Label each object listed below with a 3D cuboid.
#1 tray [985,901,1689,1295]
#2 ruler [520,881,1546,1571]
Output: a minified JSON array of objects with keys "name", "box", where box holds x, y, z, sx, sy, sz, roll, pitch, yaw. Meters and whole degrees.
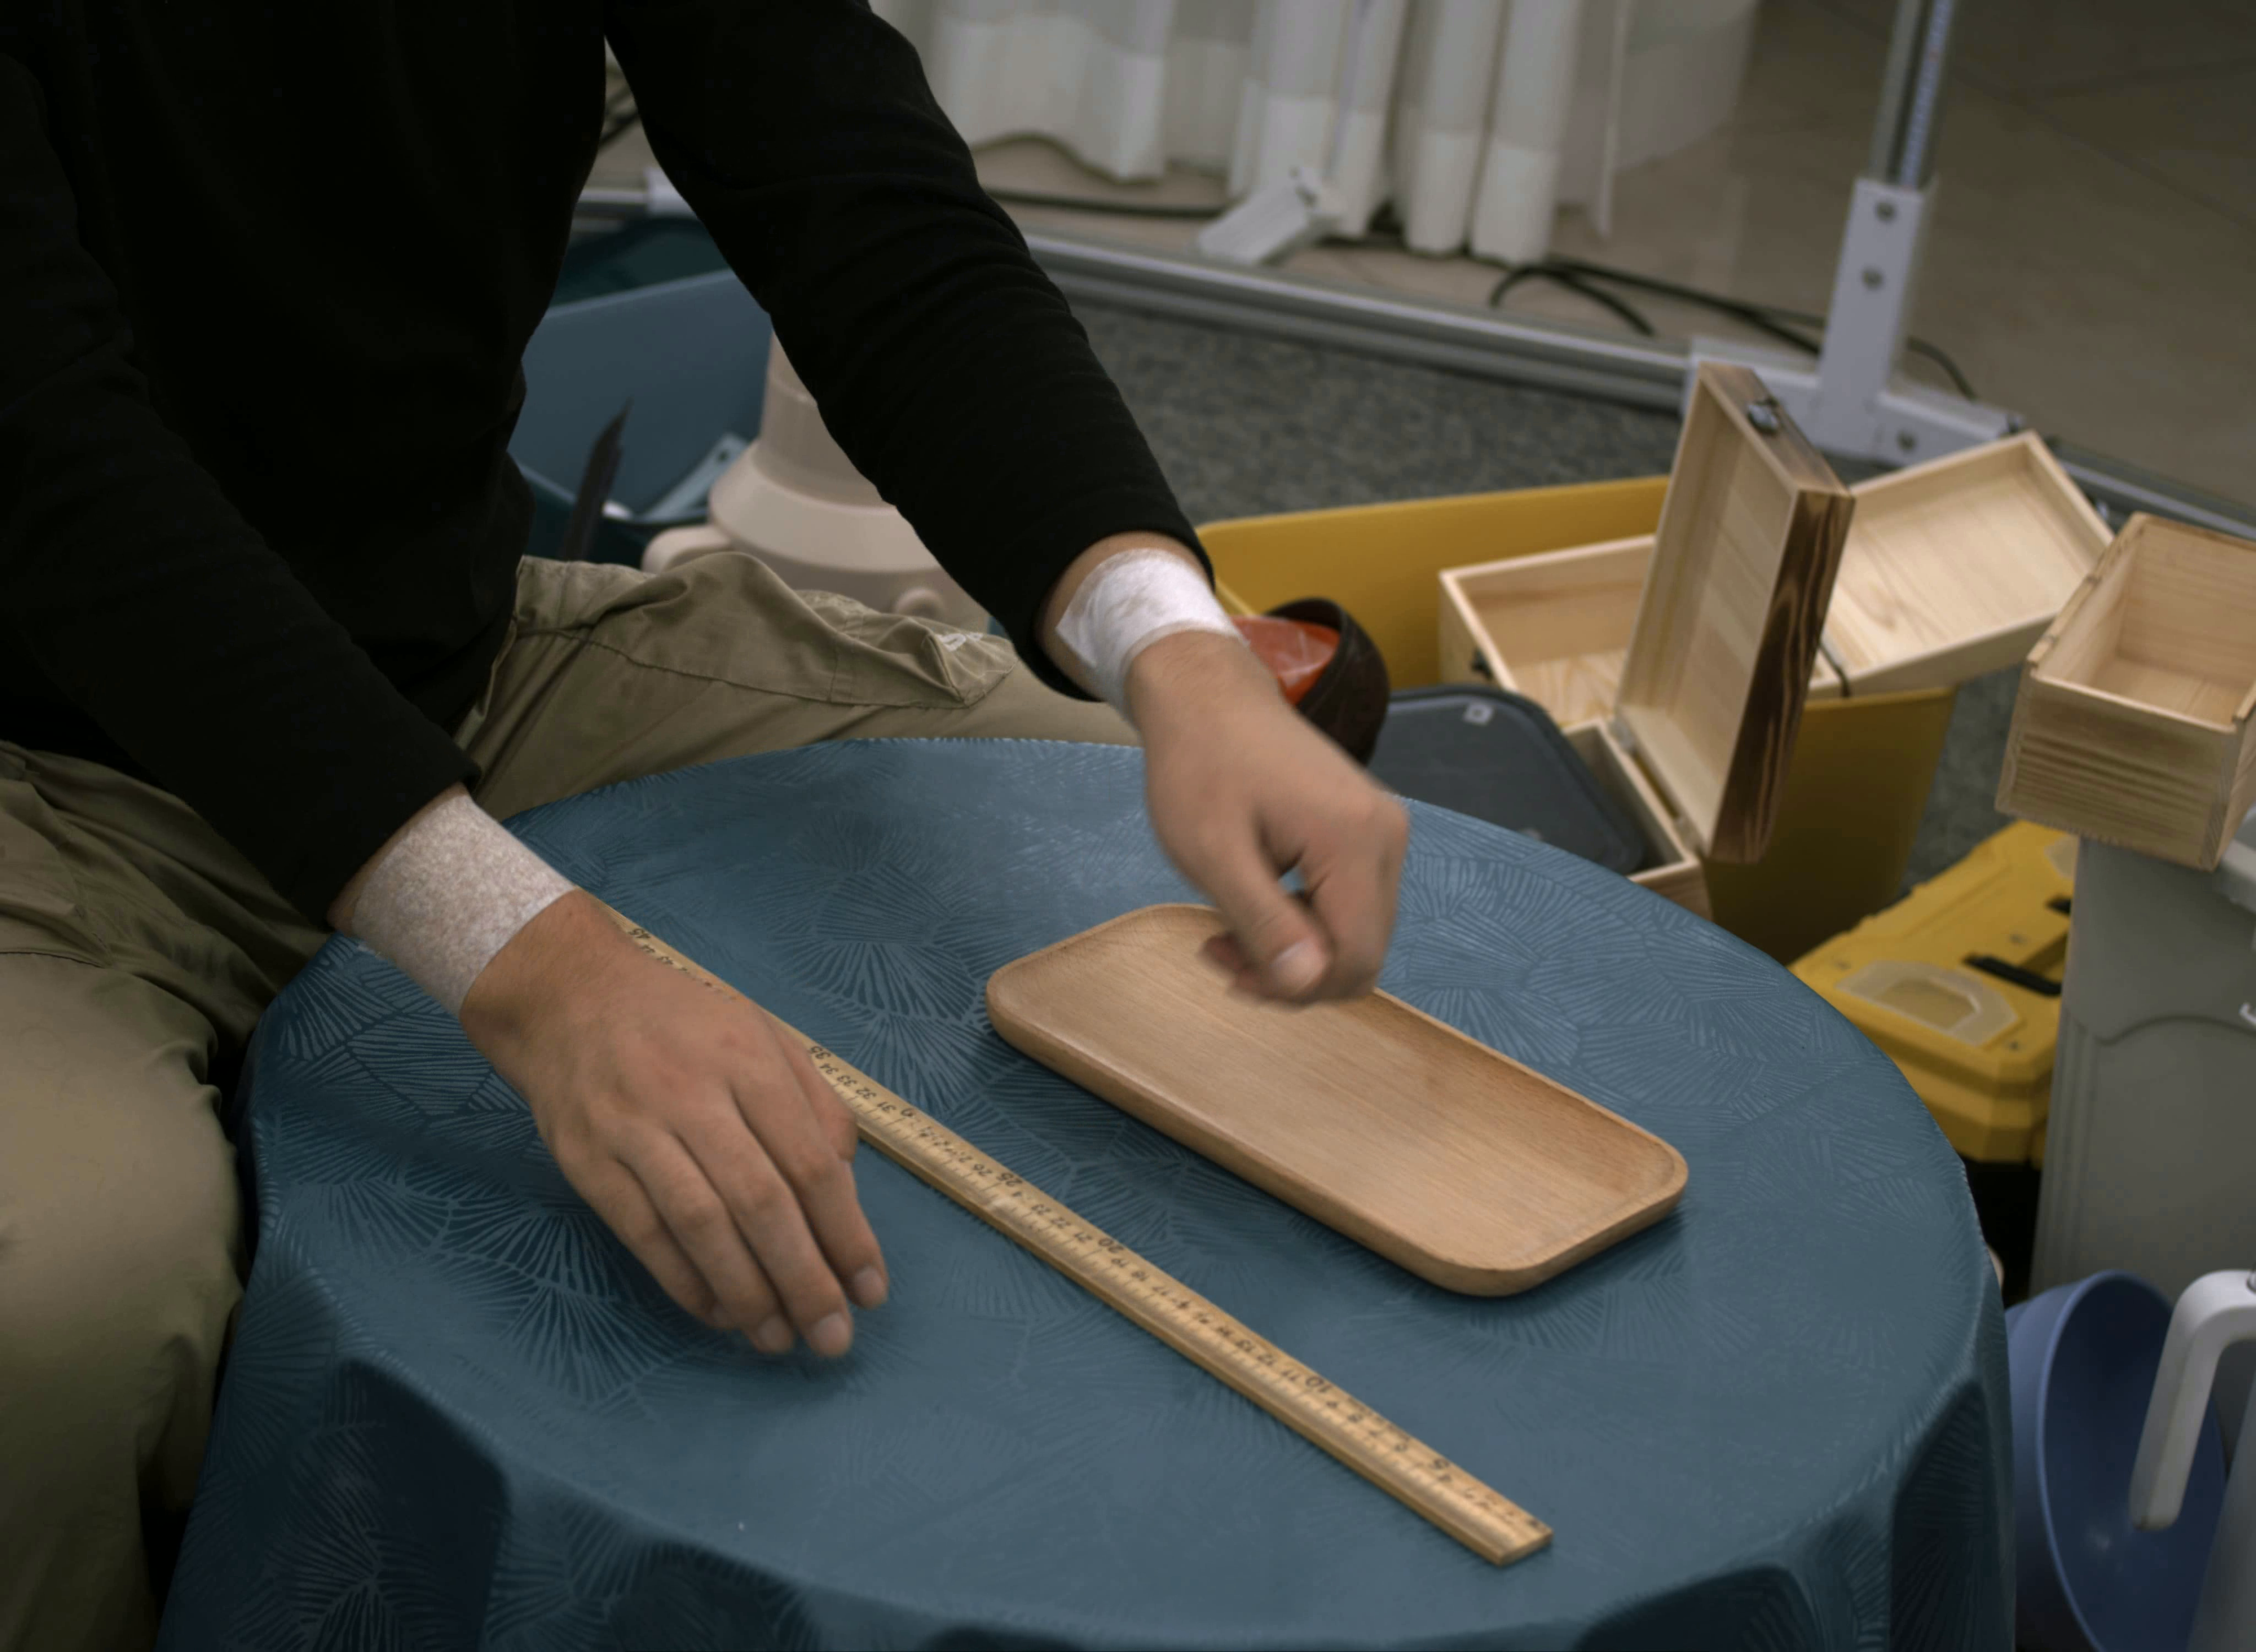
[{"name":"tray","box":[0.070,0.093,1.861,0.252,0.023,0.130,27,31,37]},{"name":"ruler","box":[-0.045,0.123,1.787,0.026,0.006,0.504,-16,34,-40]}]
